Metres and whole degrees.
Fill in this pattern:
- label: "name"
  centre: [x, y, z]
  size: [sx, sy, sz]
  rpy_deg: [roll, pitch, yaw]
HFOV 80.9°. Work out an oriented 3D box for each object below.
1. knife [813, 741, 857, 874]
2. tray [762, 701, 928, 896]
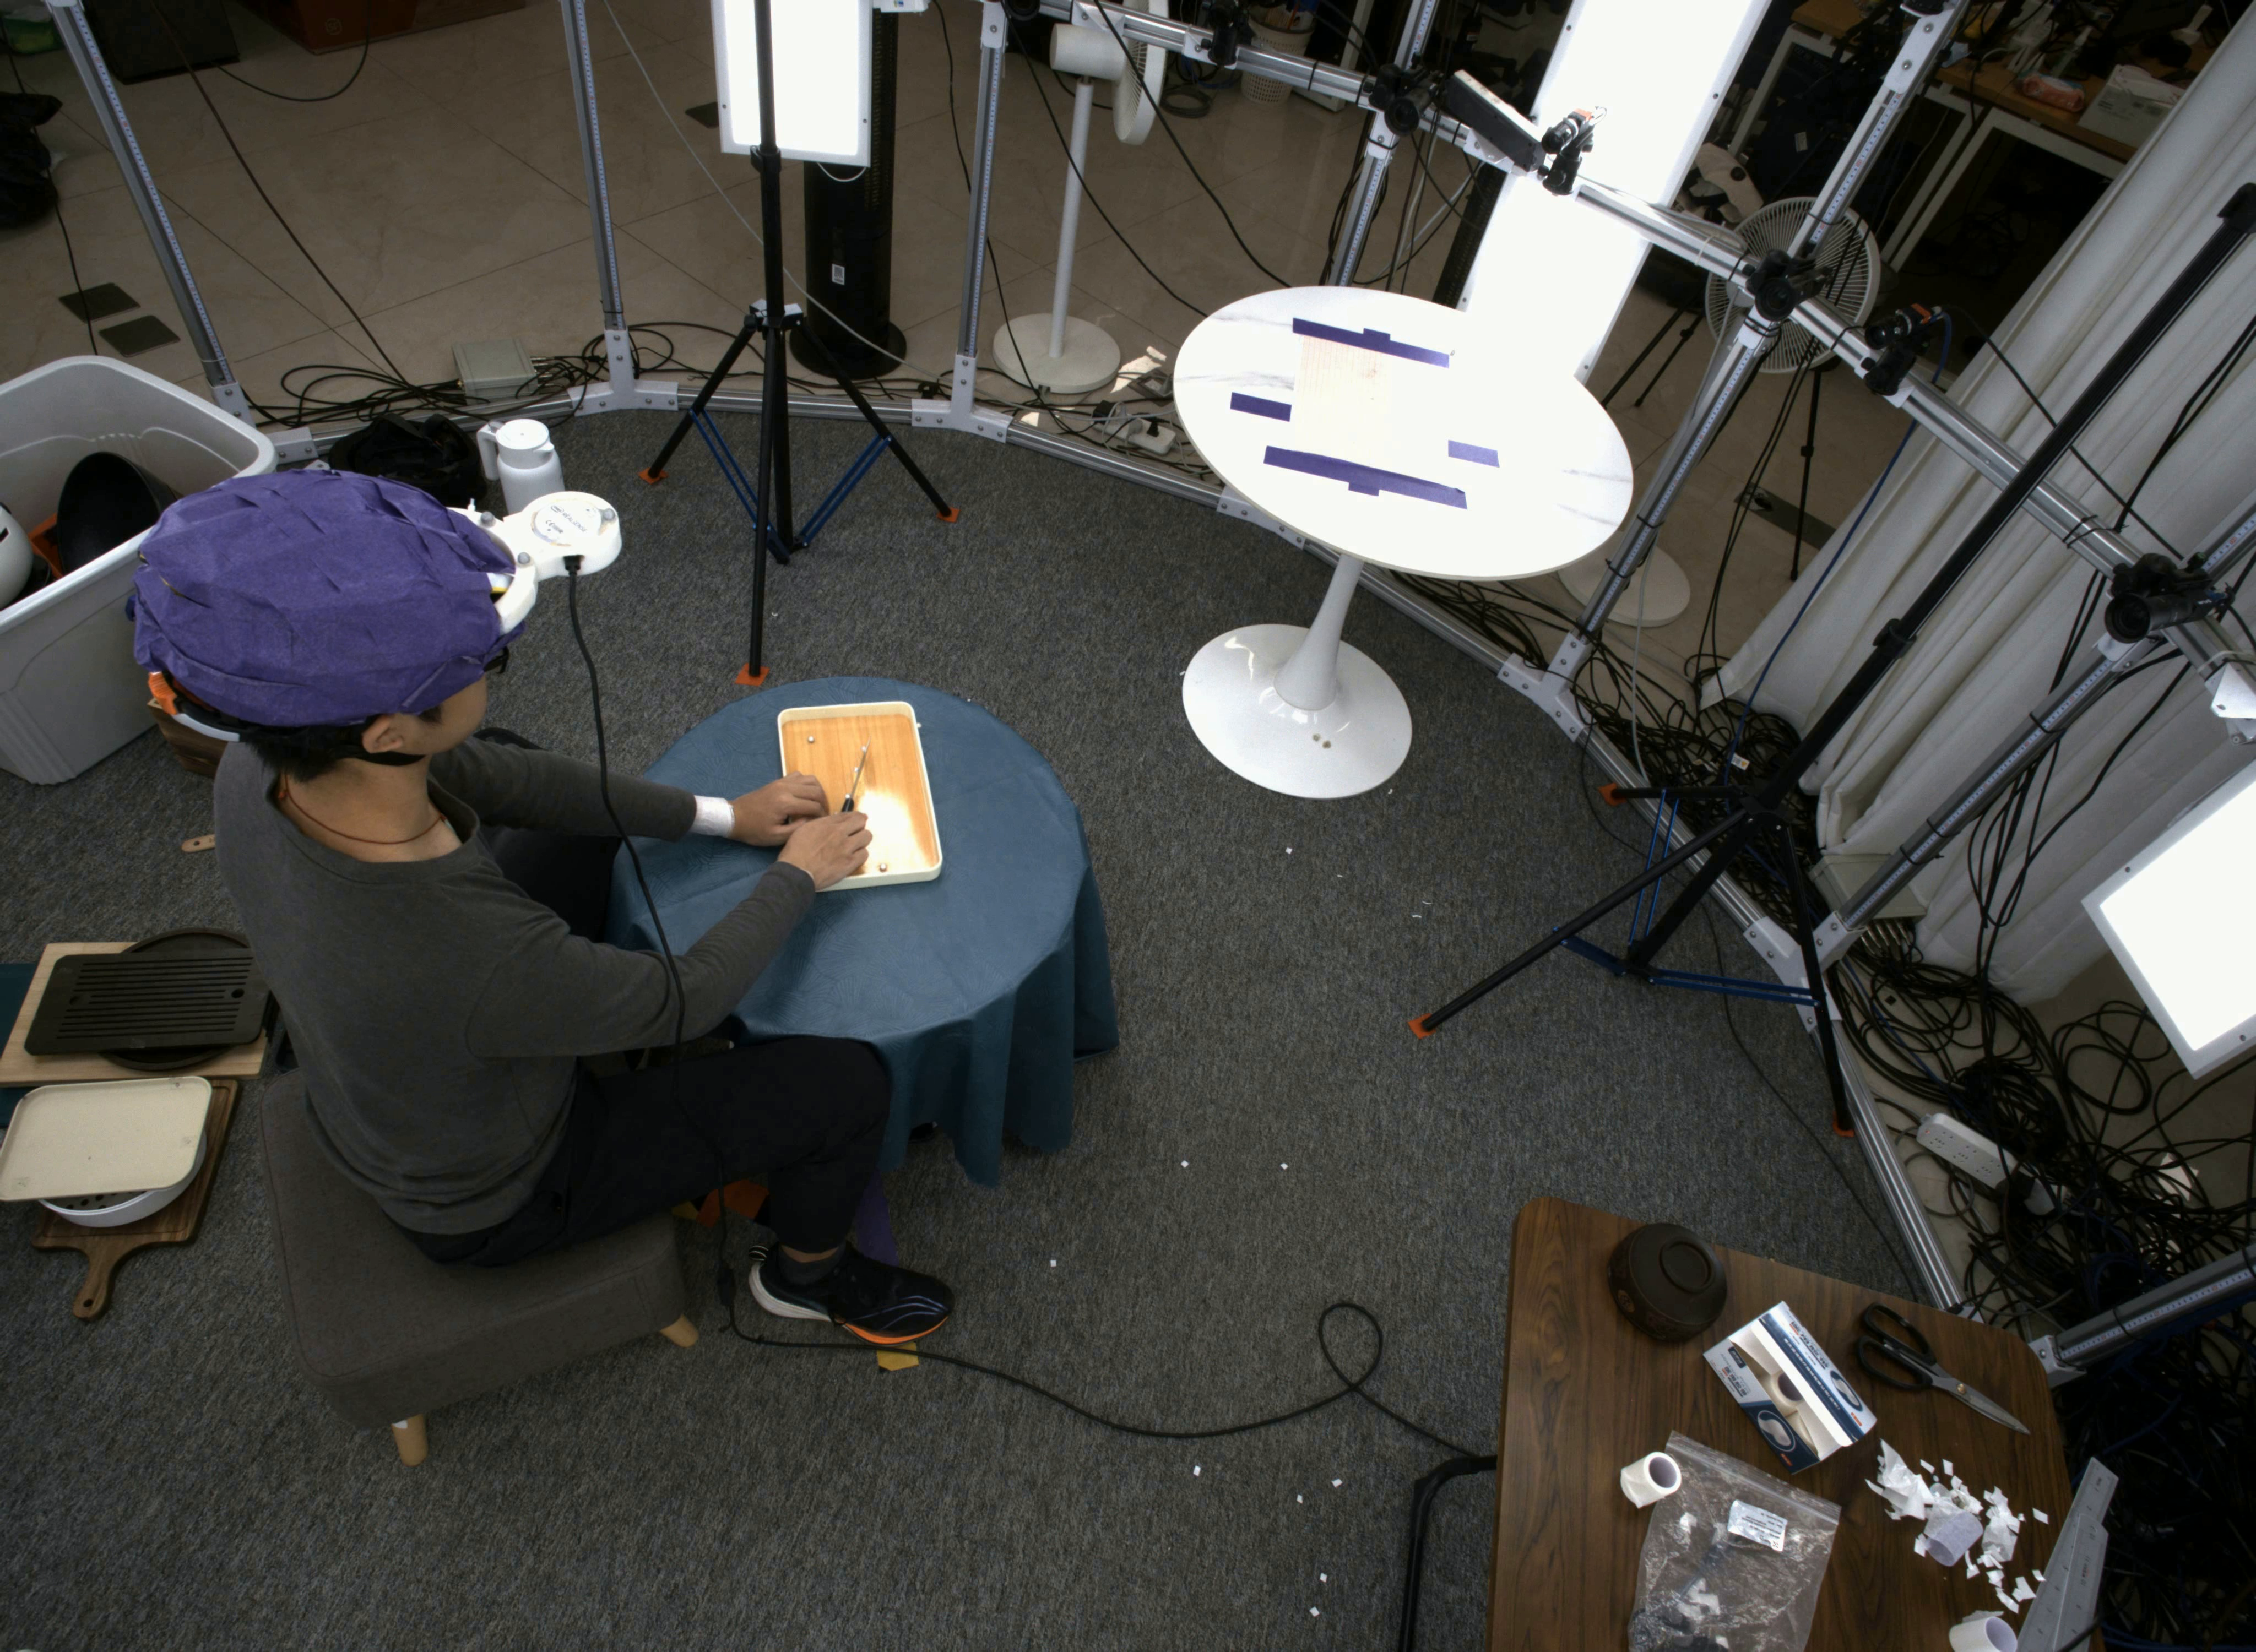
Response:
- label: "knife"
  centre: [-0.388, -0.034, 1.731]
  size: [0.016, 0.025, 0.234]
  rpy_deg: [8, 49, -3]
- label: "tray"
  centre: [-0.387, -0.044, 1.760]
  size: [0.192, 0.028, 0.293]
  rpy_deg: [-6, 56, -17]
